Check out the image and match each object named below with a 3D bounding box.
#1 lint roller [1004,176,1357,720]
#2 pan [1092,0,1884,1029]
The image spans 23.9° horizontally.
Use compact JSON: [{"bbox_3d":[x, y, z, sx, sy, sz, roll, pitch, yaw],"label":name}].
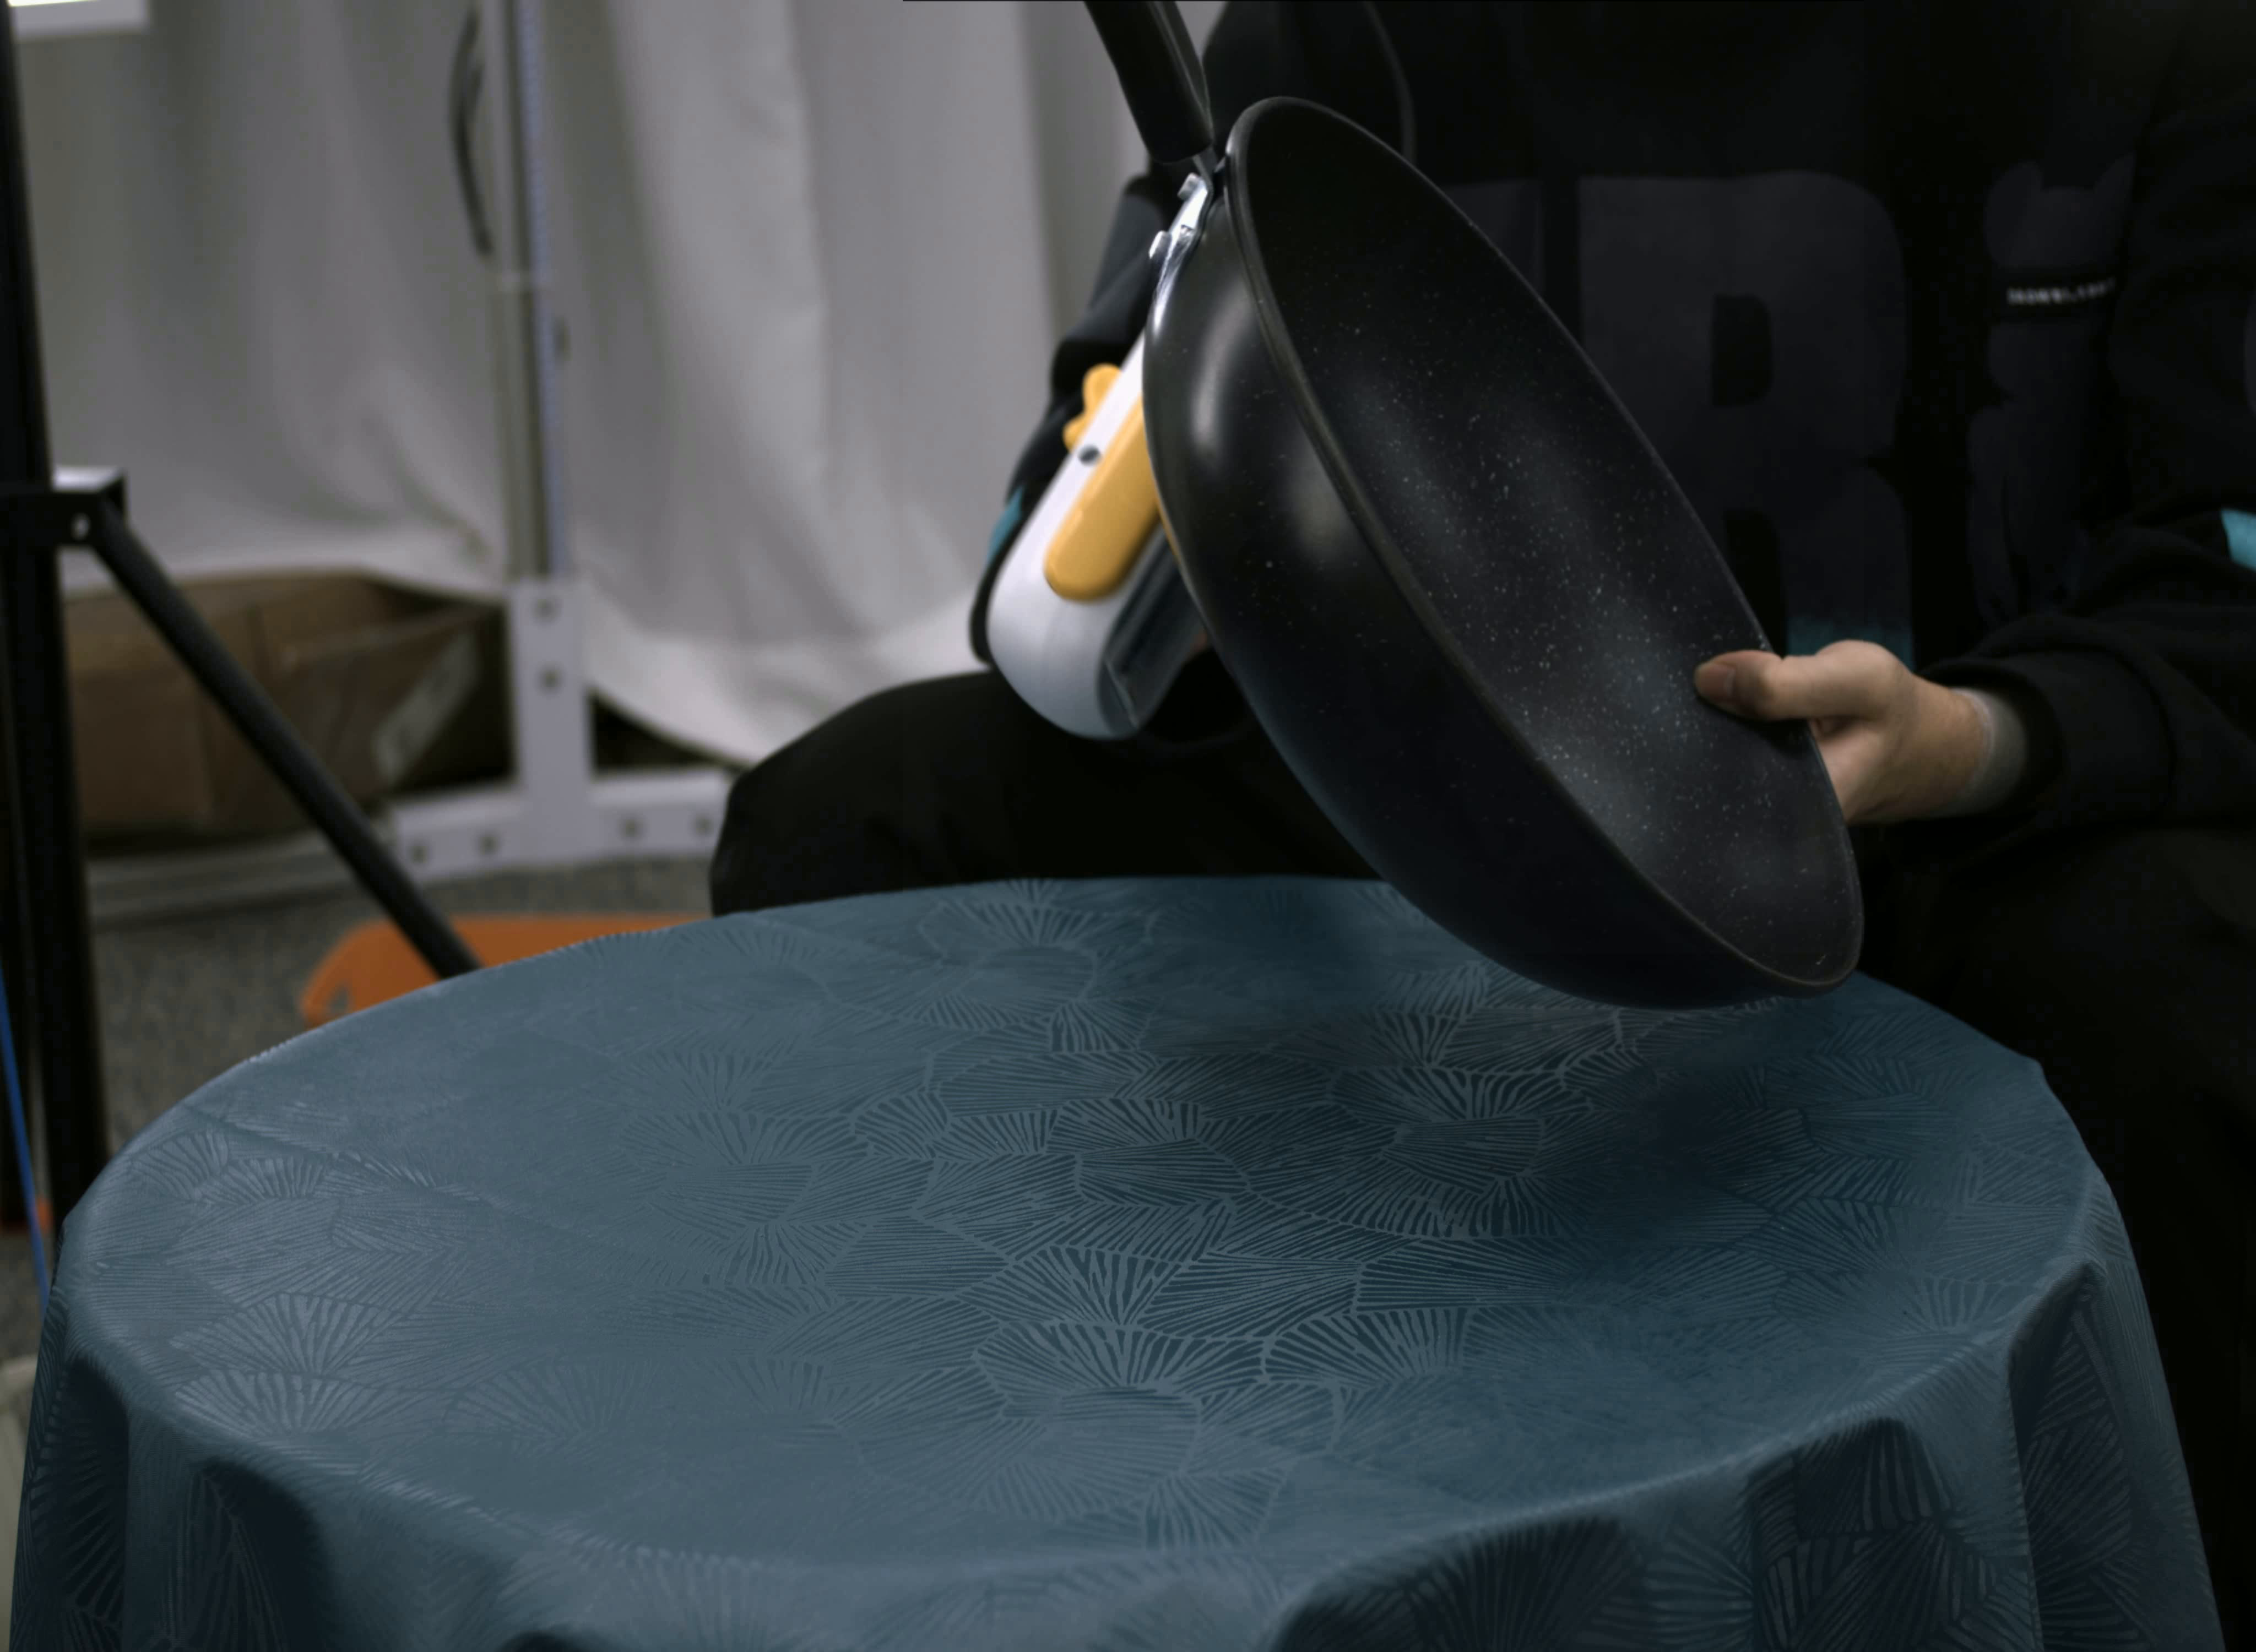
[{"bbox_3d":[0.020,-0.098,1.720,0.075,0.193,0.191,22,-23,12],"label":"lint roller"},{"bbox_3d":[0.057,-0.124,1.533,0.112,0.471,0.311,-35,19,19],"label":"pan"}]
